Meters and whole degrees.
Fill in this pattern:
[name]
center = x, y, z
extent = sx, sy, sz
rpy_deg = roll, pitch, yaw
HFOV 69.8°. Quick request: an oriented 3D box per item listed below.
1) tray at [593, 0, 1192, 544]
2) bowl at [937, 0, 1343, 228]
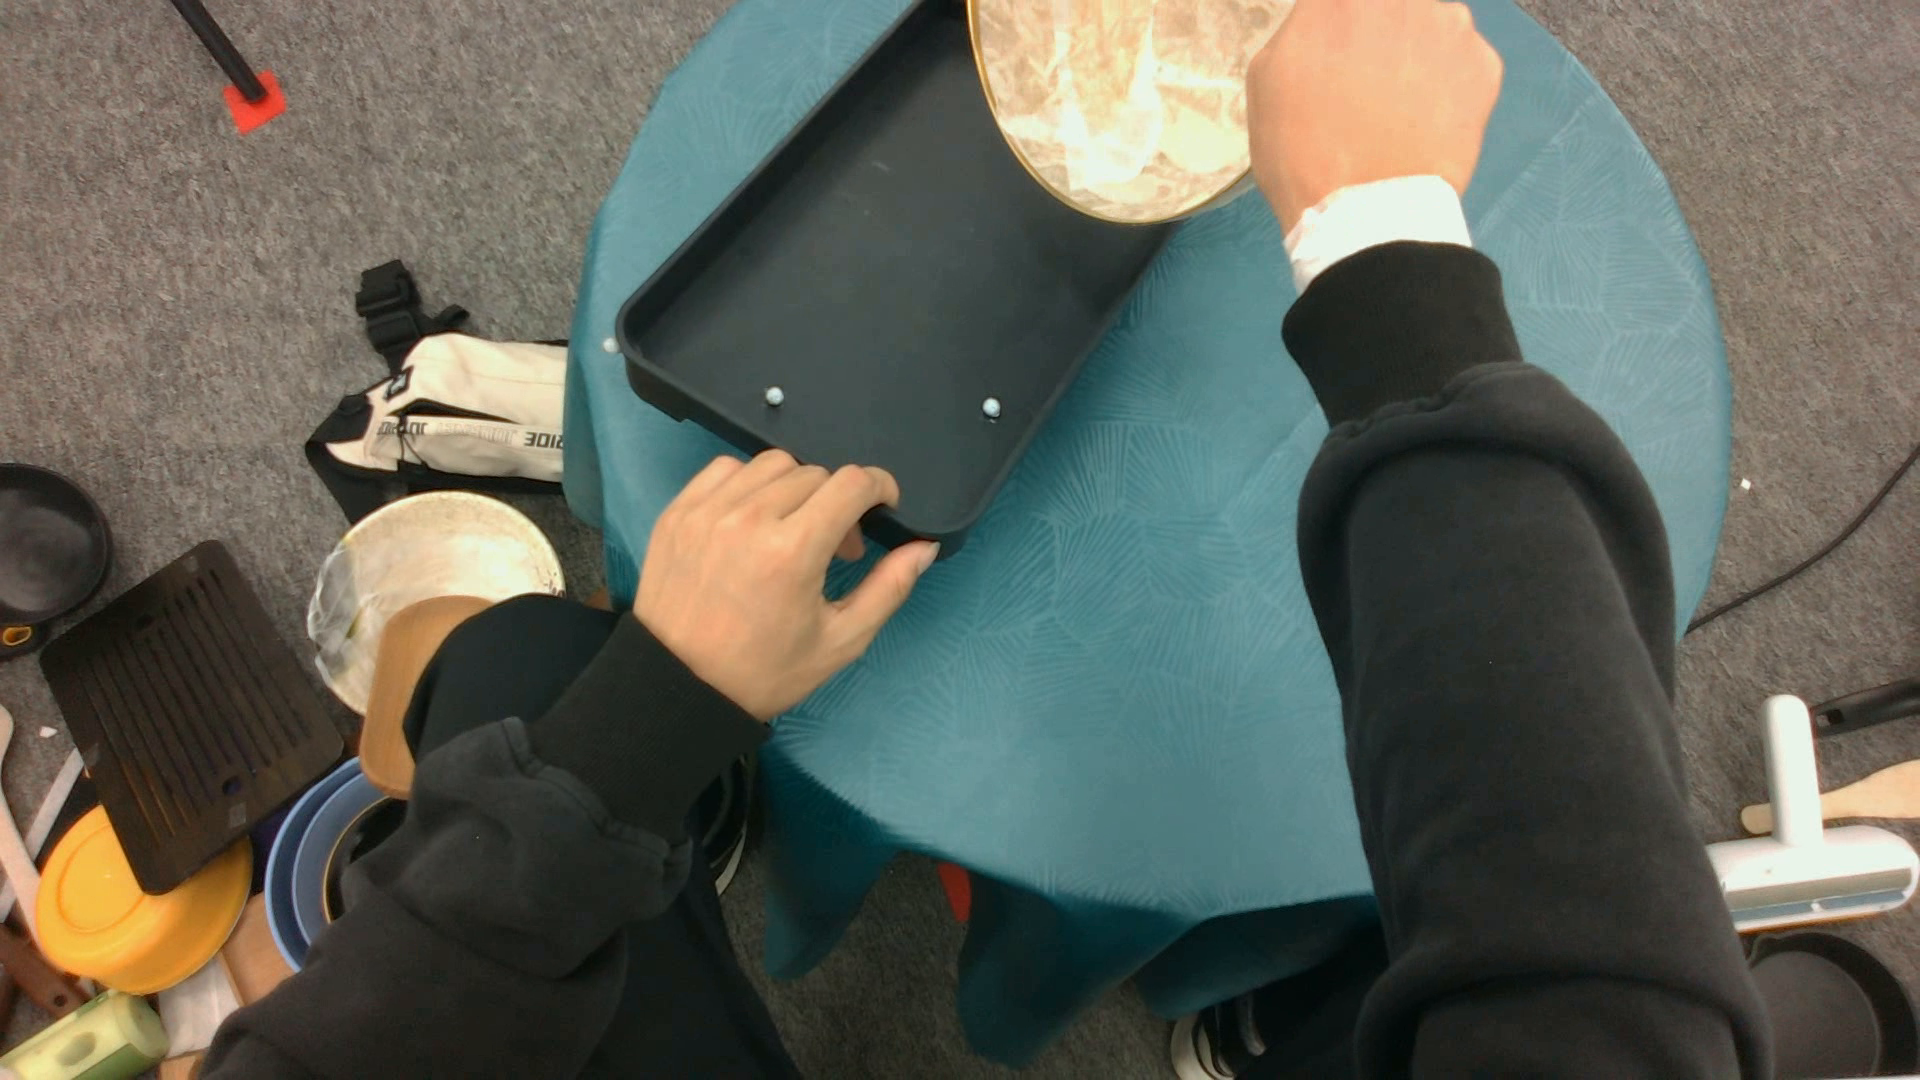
[tray]
center = -0.013, -0.154, 0.675
extent = 0.184, 0.037, 0.319
rpy_deg = 32, 60, 7
[bowl]
center = 0.093, -0.250, 0.618
extent = 0.095, 0.213, 0.215
rpy_deg = -20, 71, -42
